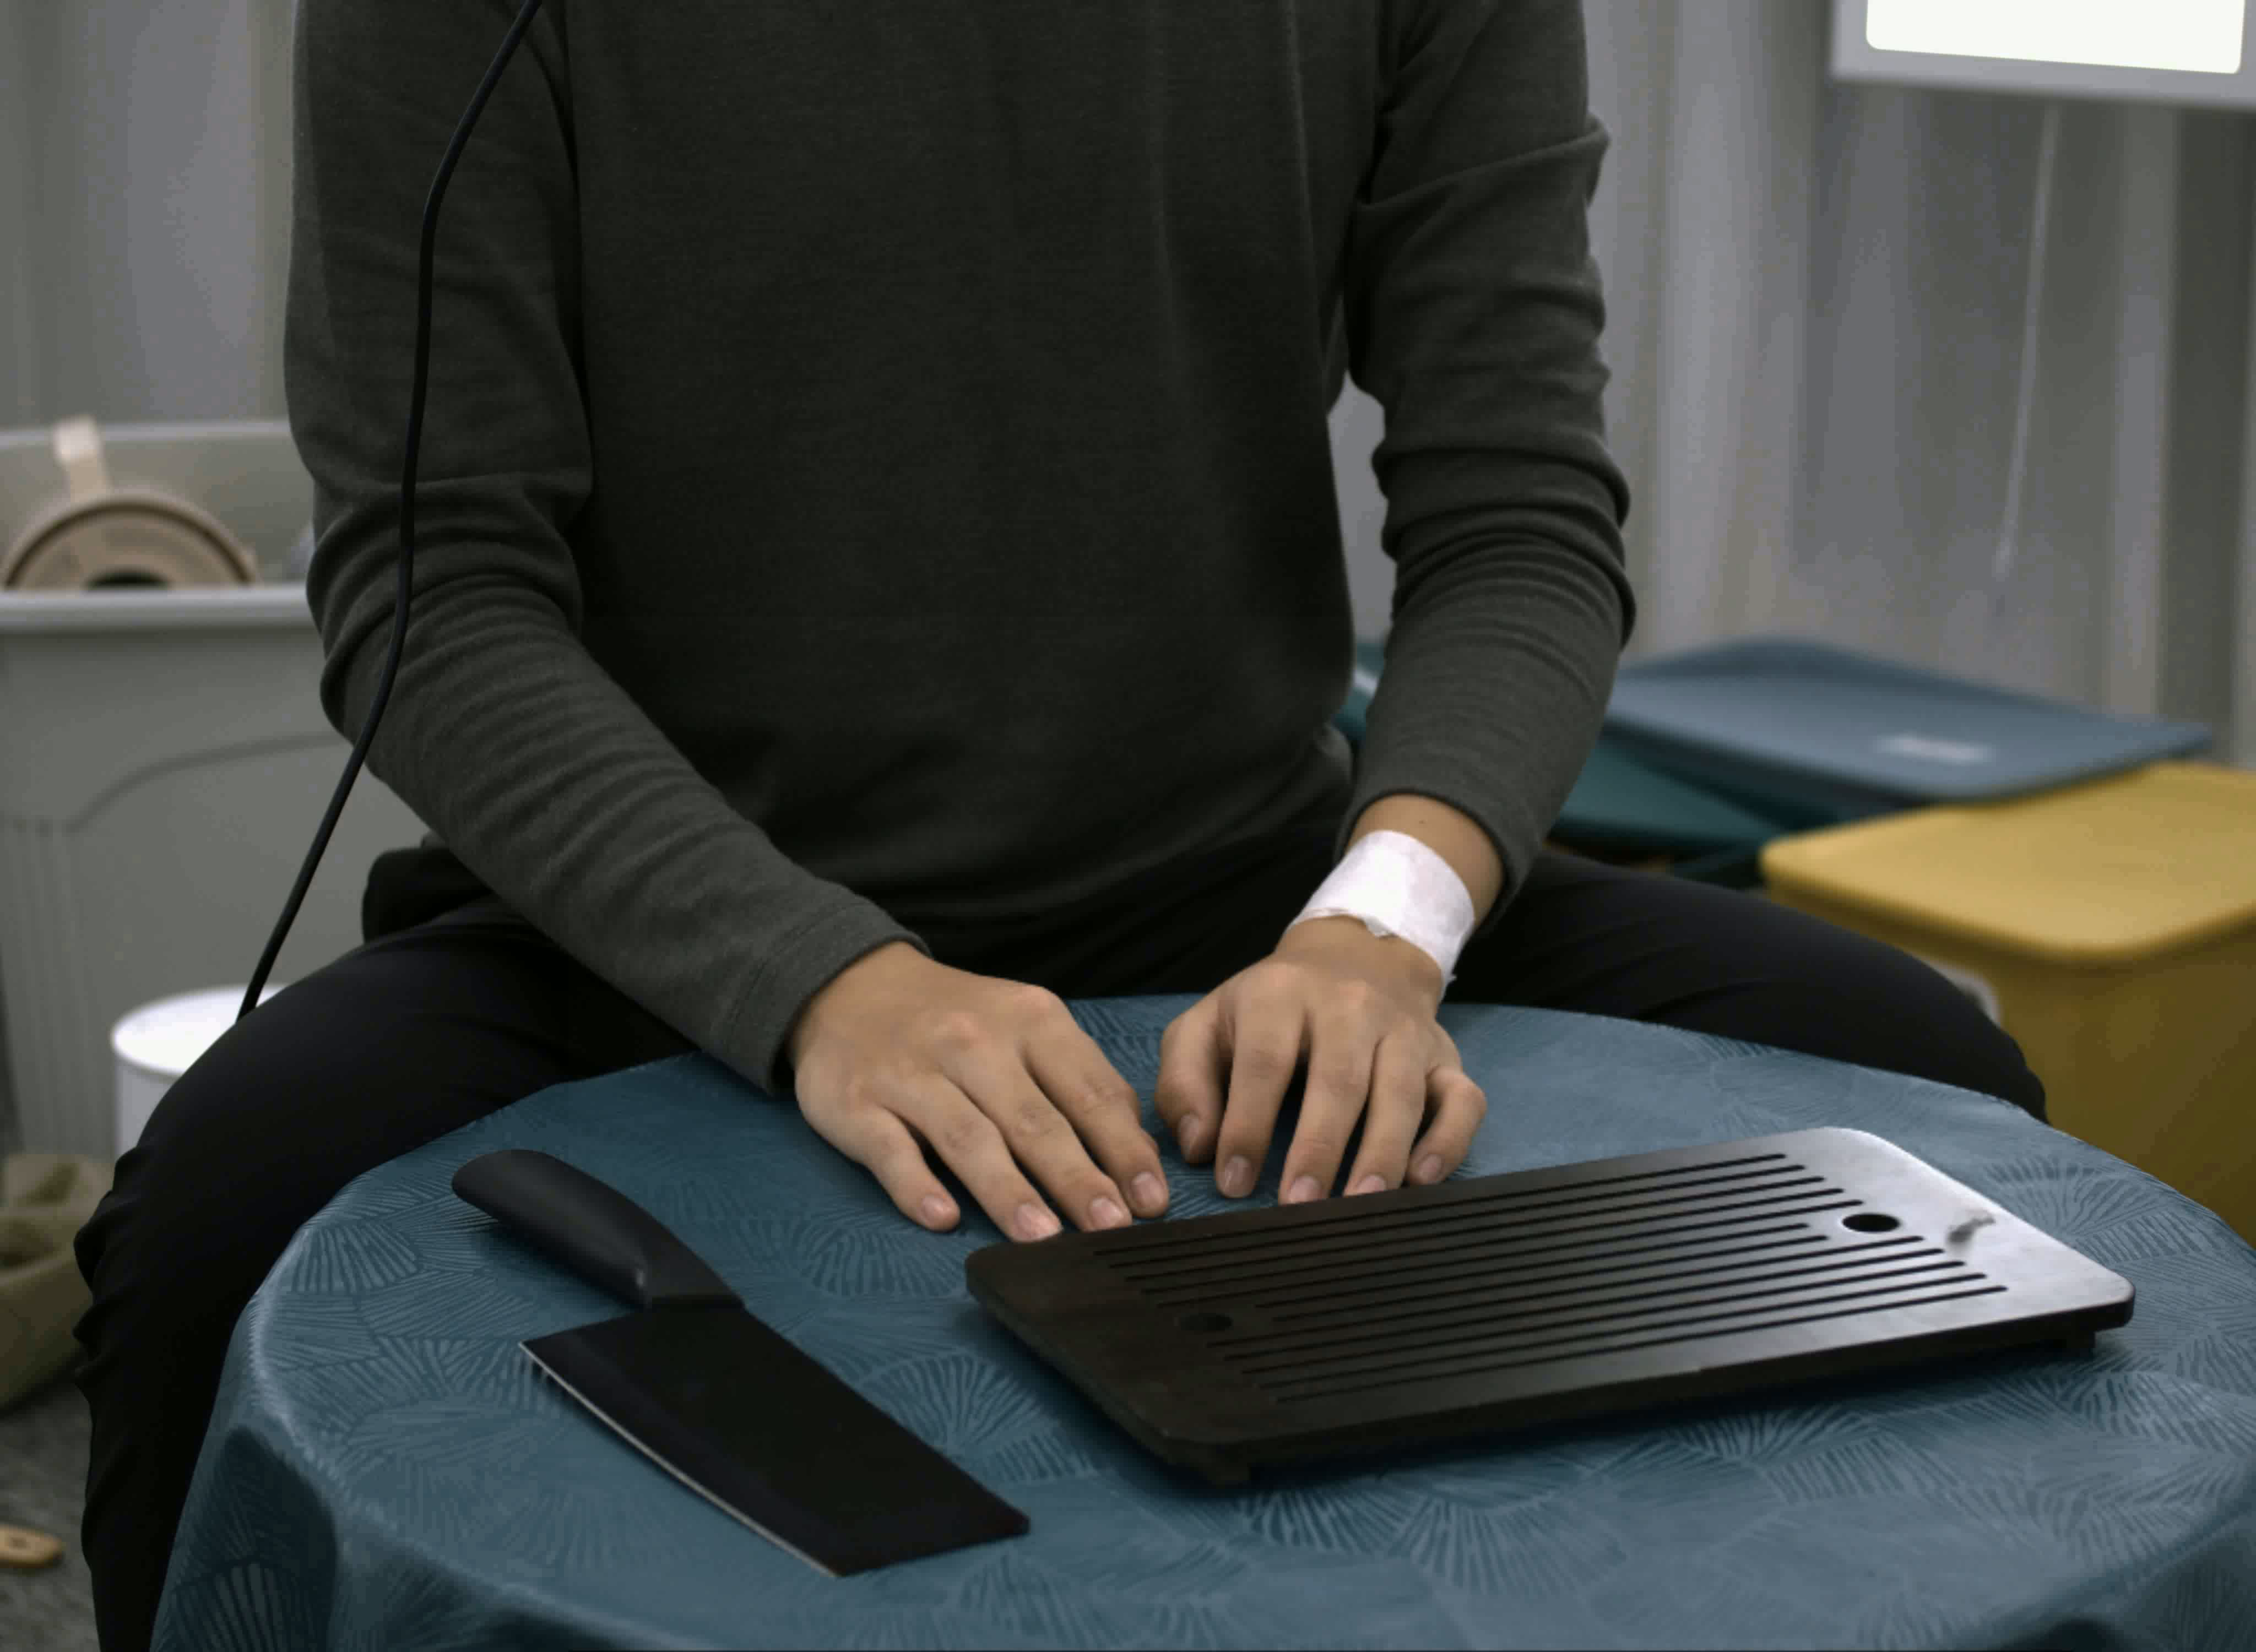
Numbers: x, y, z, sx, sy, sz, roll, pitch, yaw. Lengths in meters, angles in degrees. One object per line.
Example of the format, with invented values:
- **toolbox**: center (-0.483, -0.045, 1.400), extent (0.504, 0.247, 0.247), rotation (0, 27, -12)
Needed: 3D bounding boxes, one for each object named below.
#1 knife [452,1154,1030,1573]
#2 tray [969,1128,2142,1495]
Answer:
- **knife**: center (-0.125, 0.147, 1.469), extent (0.081, 0.021, 0.298), rotation (-8, 19, -26)
- **tray**: center (0.122, 0.136, 1.509), extent (0.307, 0.019, 0.168), rotation (-6, 16, -23)
